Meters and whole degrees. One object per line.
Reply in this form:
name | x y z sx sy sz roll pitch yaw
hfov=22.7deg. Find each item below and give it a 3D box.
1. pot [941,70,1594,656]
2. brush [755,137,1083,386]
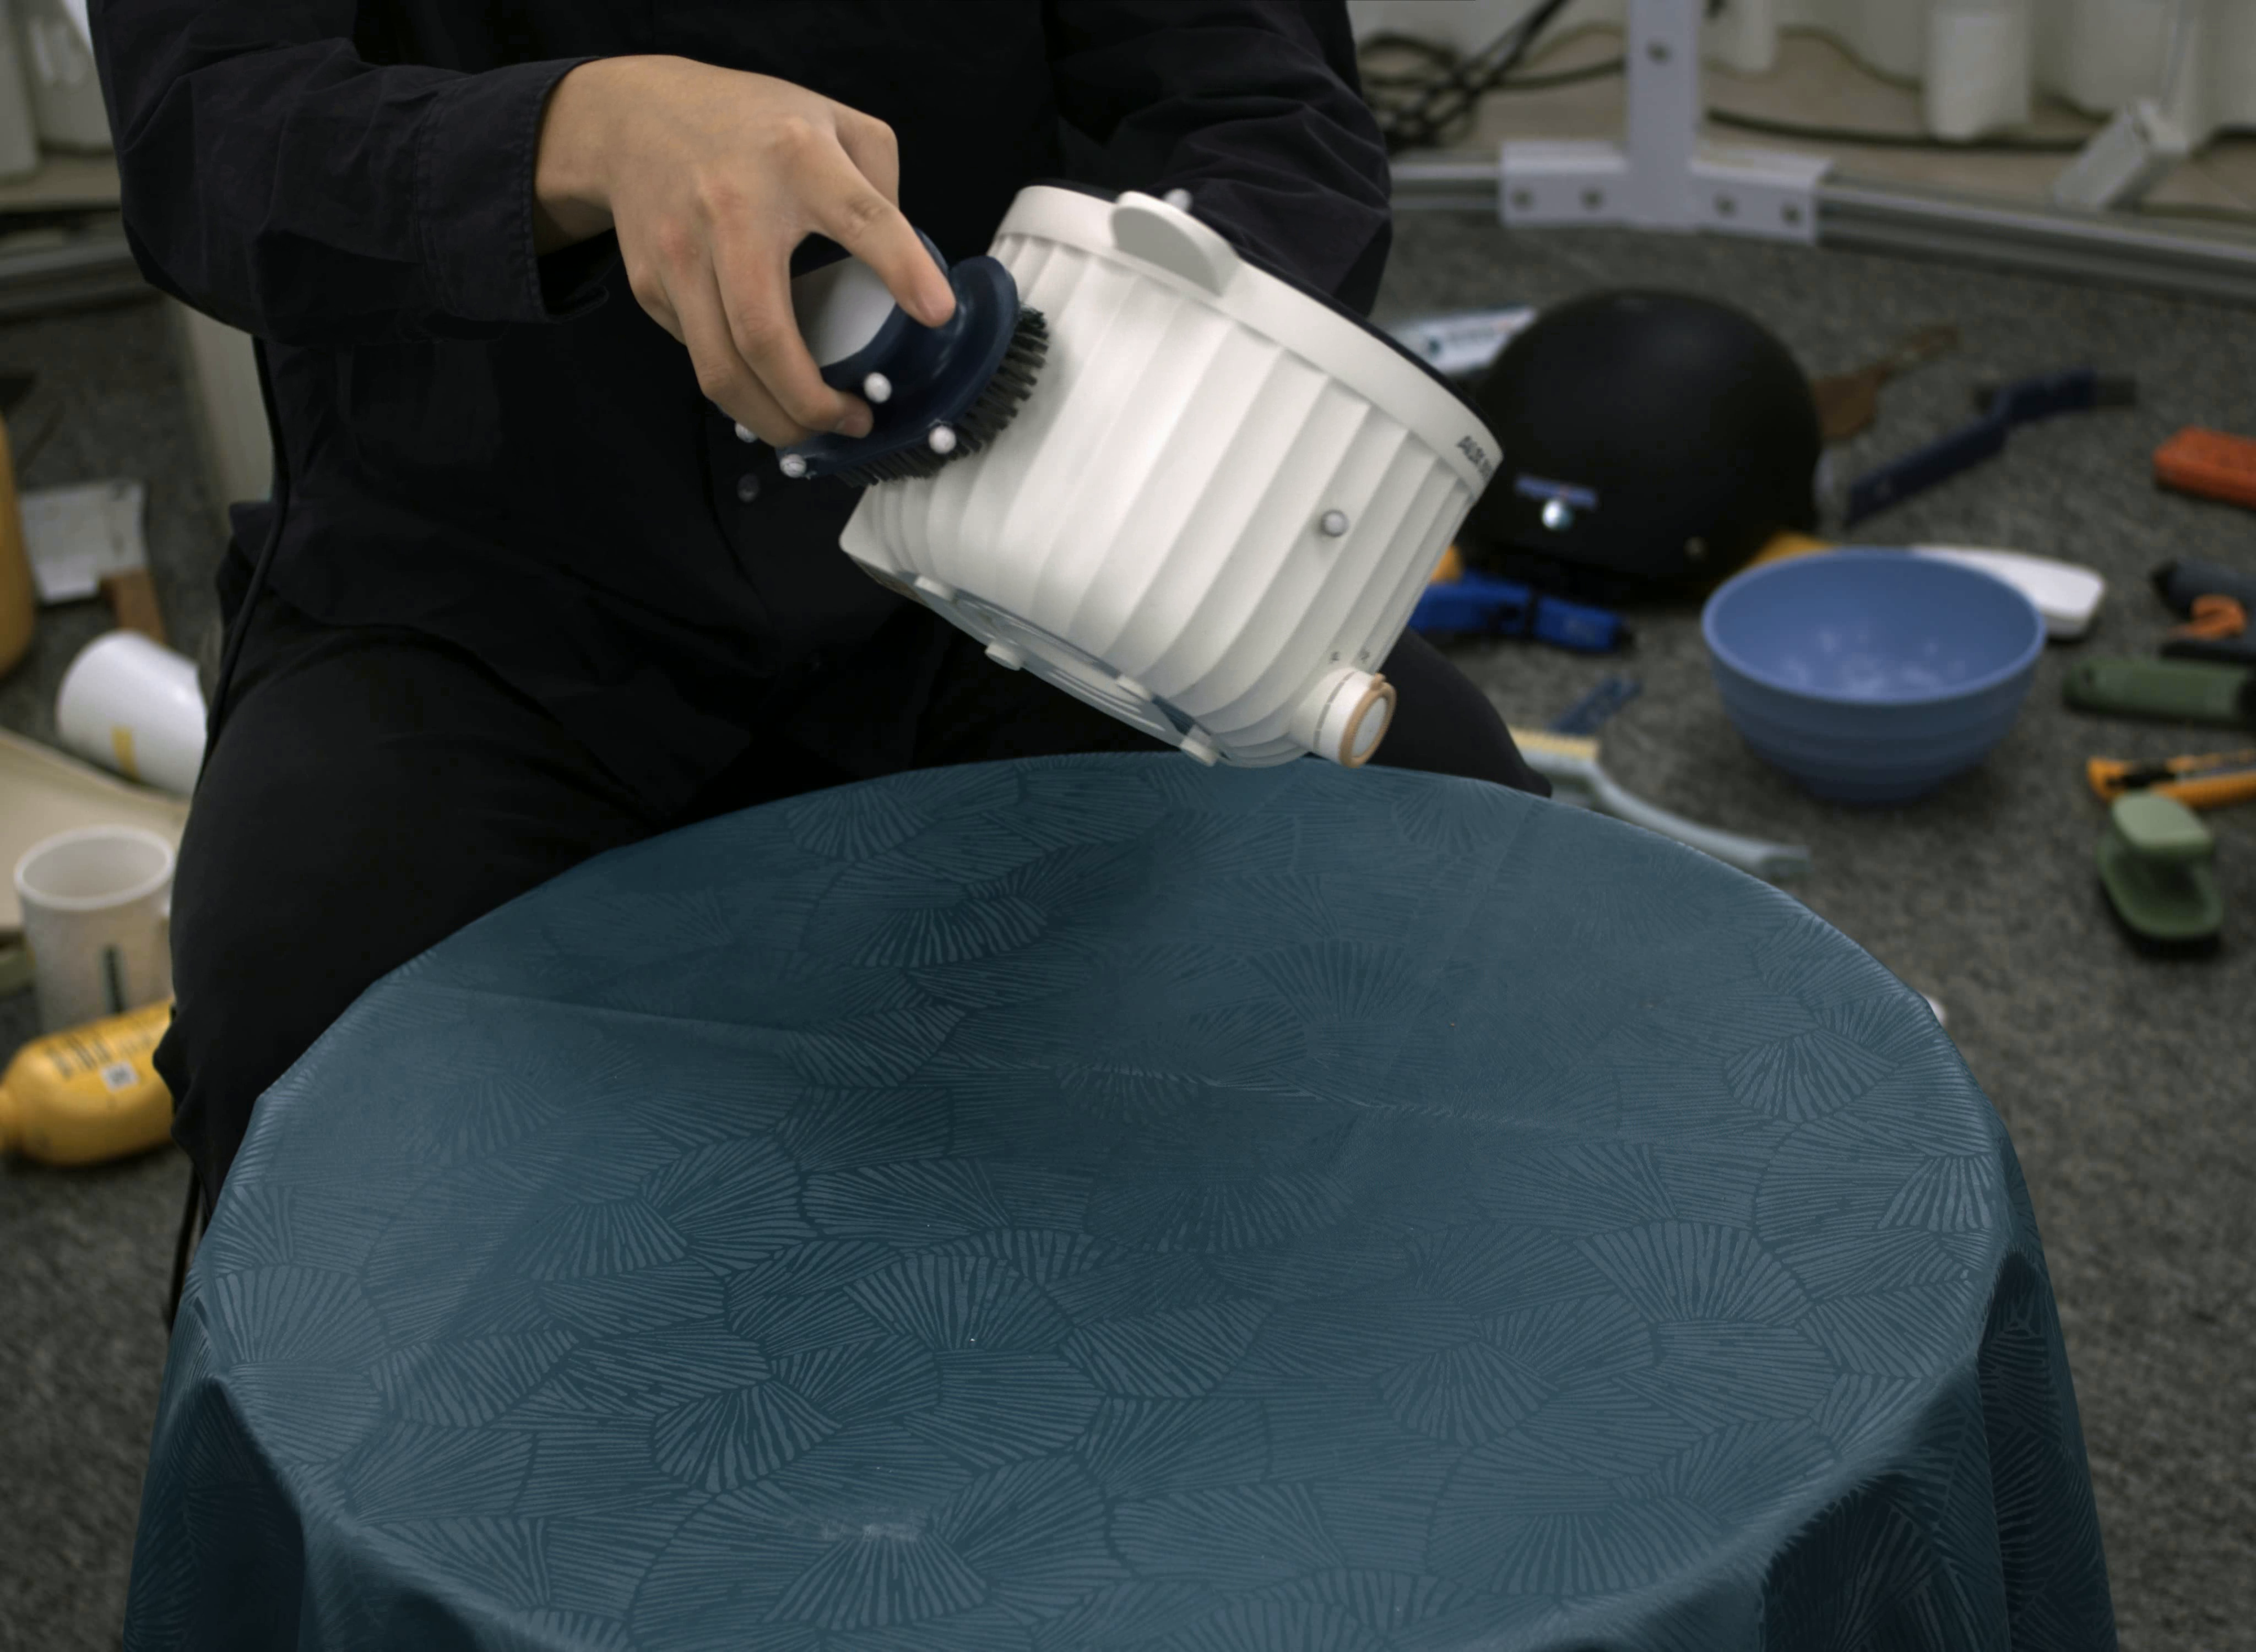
pot | 0.049 -0.143 1.872 0.190 0.143 0.239 23 -7 20
brush | -0.066 -0.179 1.813 0.061 0.069 0.120 27 -20 -33
